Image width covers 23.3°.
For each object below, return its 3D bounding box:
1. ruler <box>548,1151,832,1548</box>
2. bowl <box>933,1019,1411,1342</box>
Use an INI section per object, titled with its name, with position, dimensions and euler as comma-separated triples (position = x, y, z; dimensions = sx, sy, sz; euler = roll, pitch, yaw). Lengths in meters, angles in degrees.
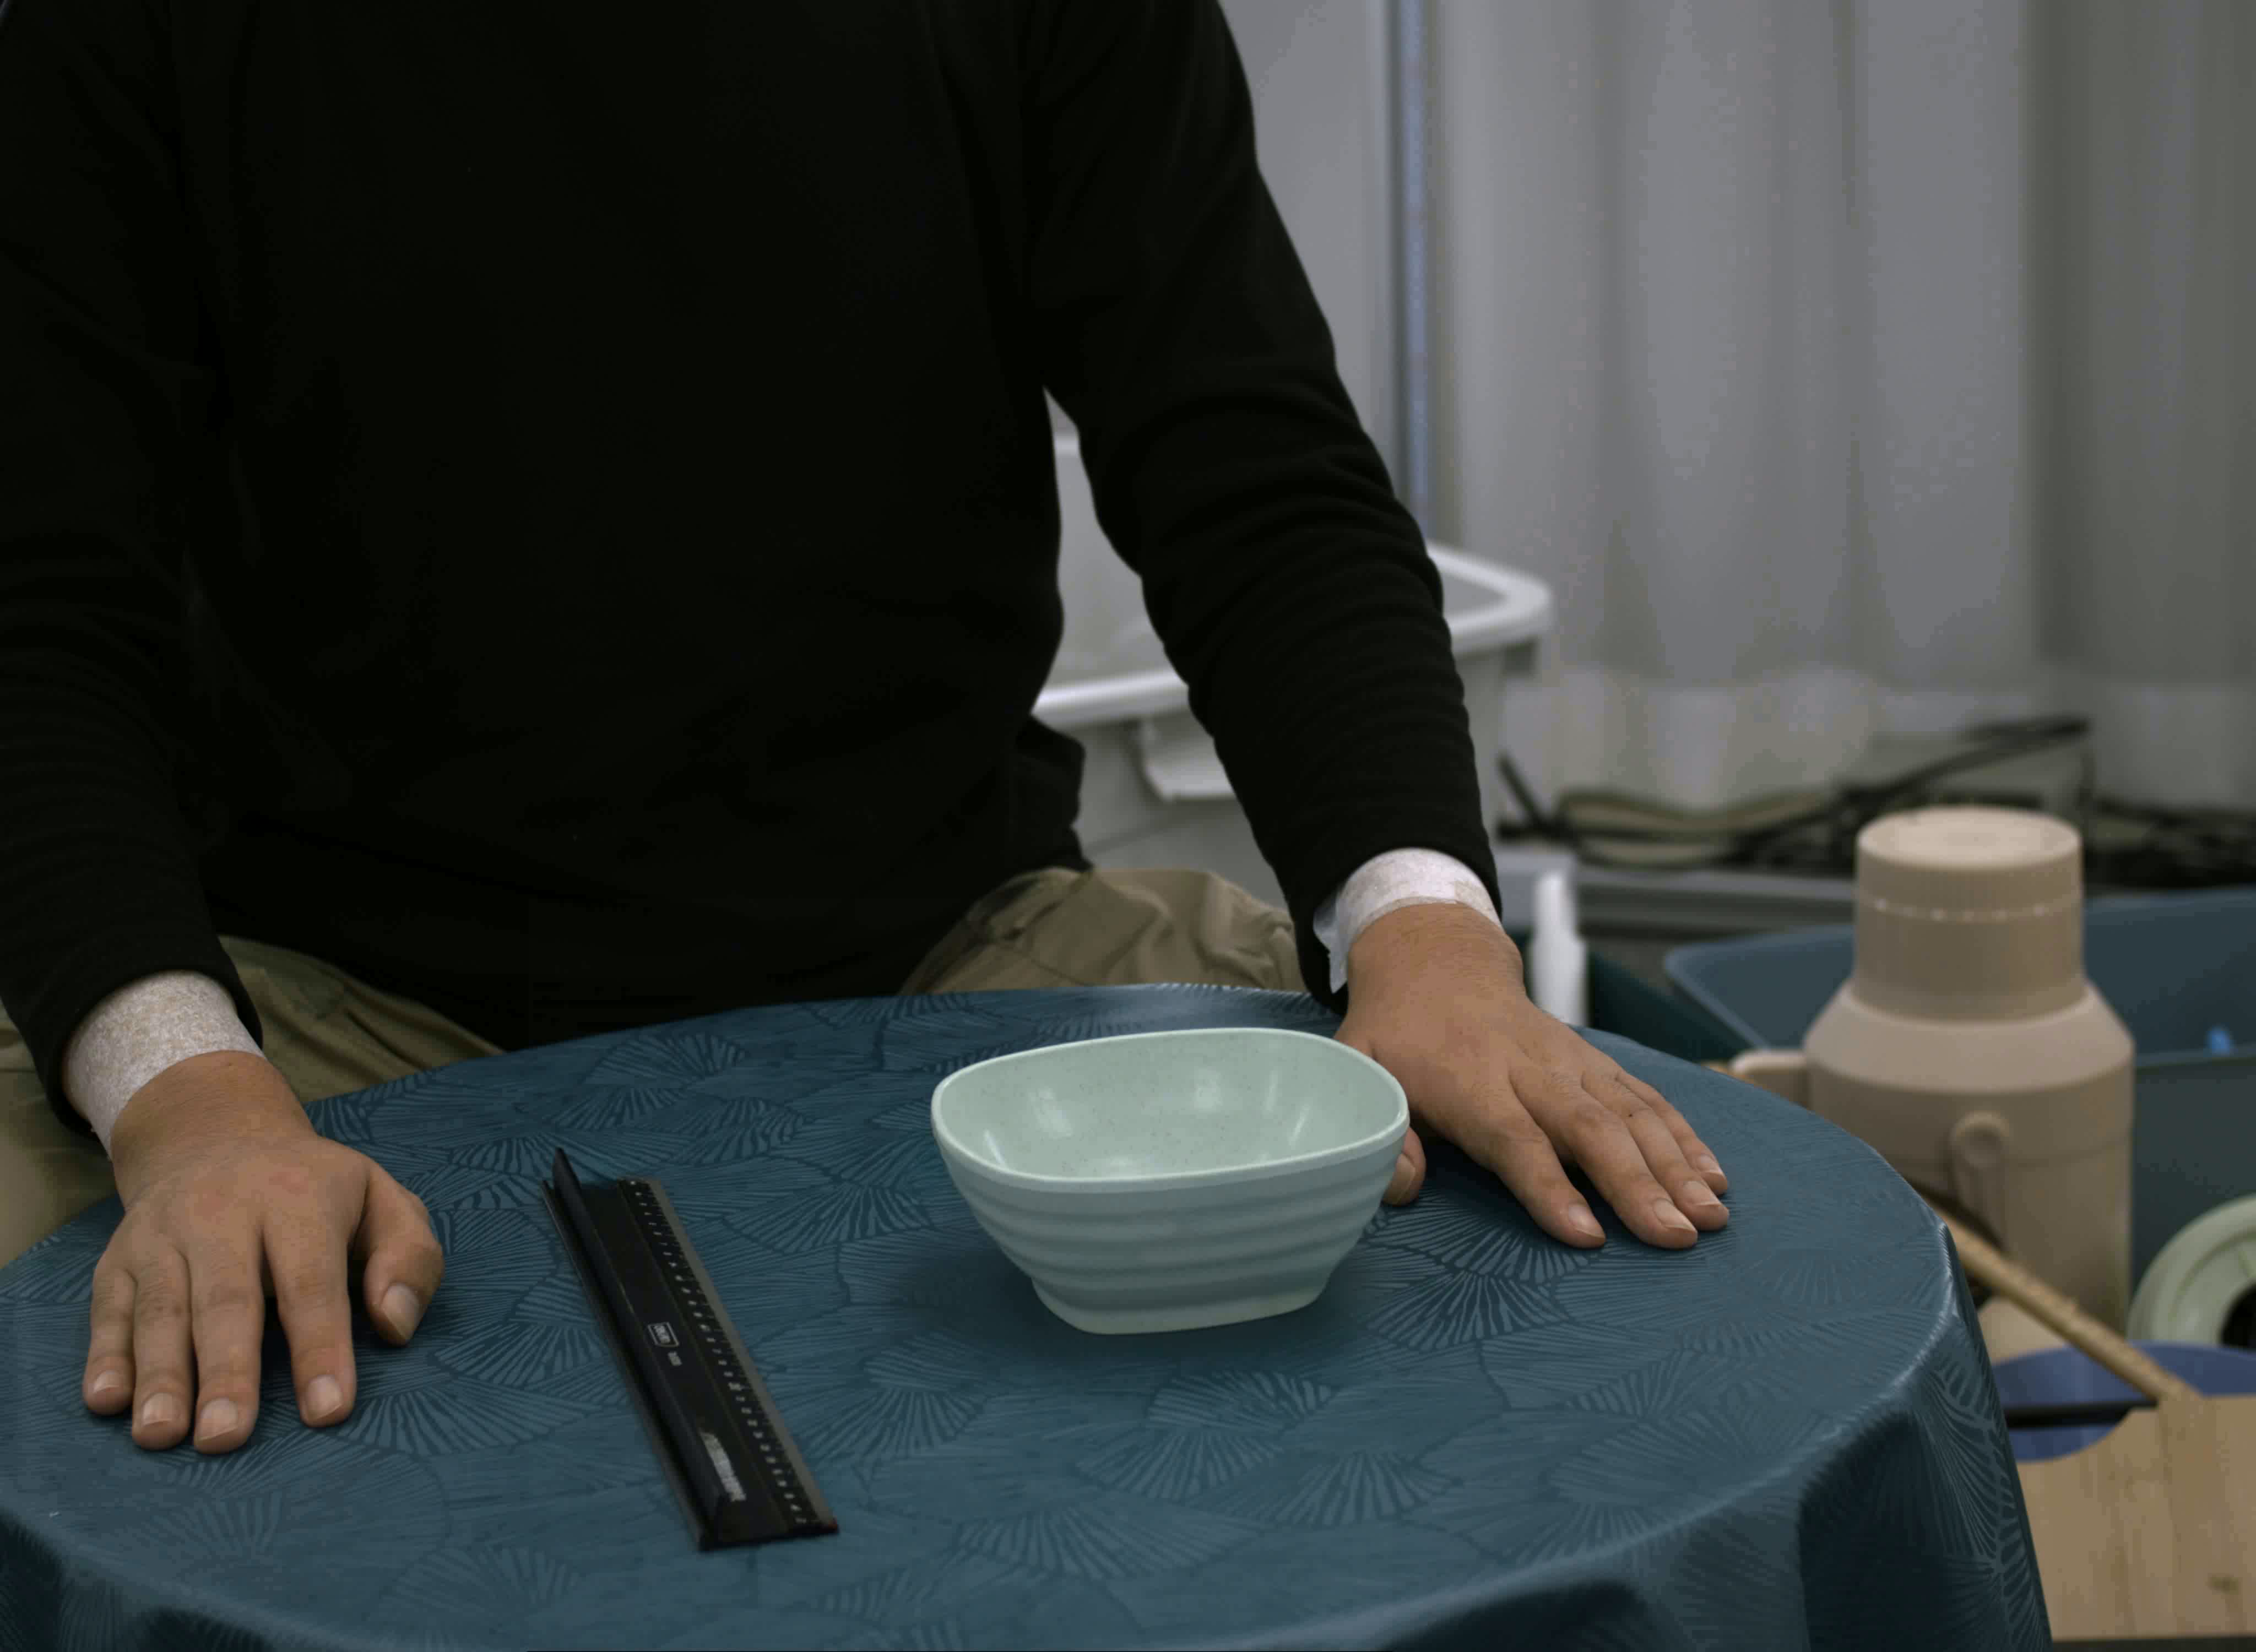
[ruler]
position = -0.130, 0.146, 1.592
dimensions = 0.039, 0.017, 0.315
euler = -3, 14, -13
[bowl]
position = 0.014, 0.109, 1.625
dimensions = 0.151, 0.058, 0.152
euler = -3, 17, 1
